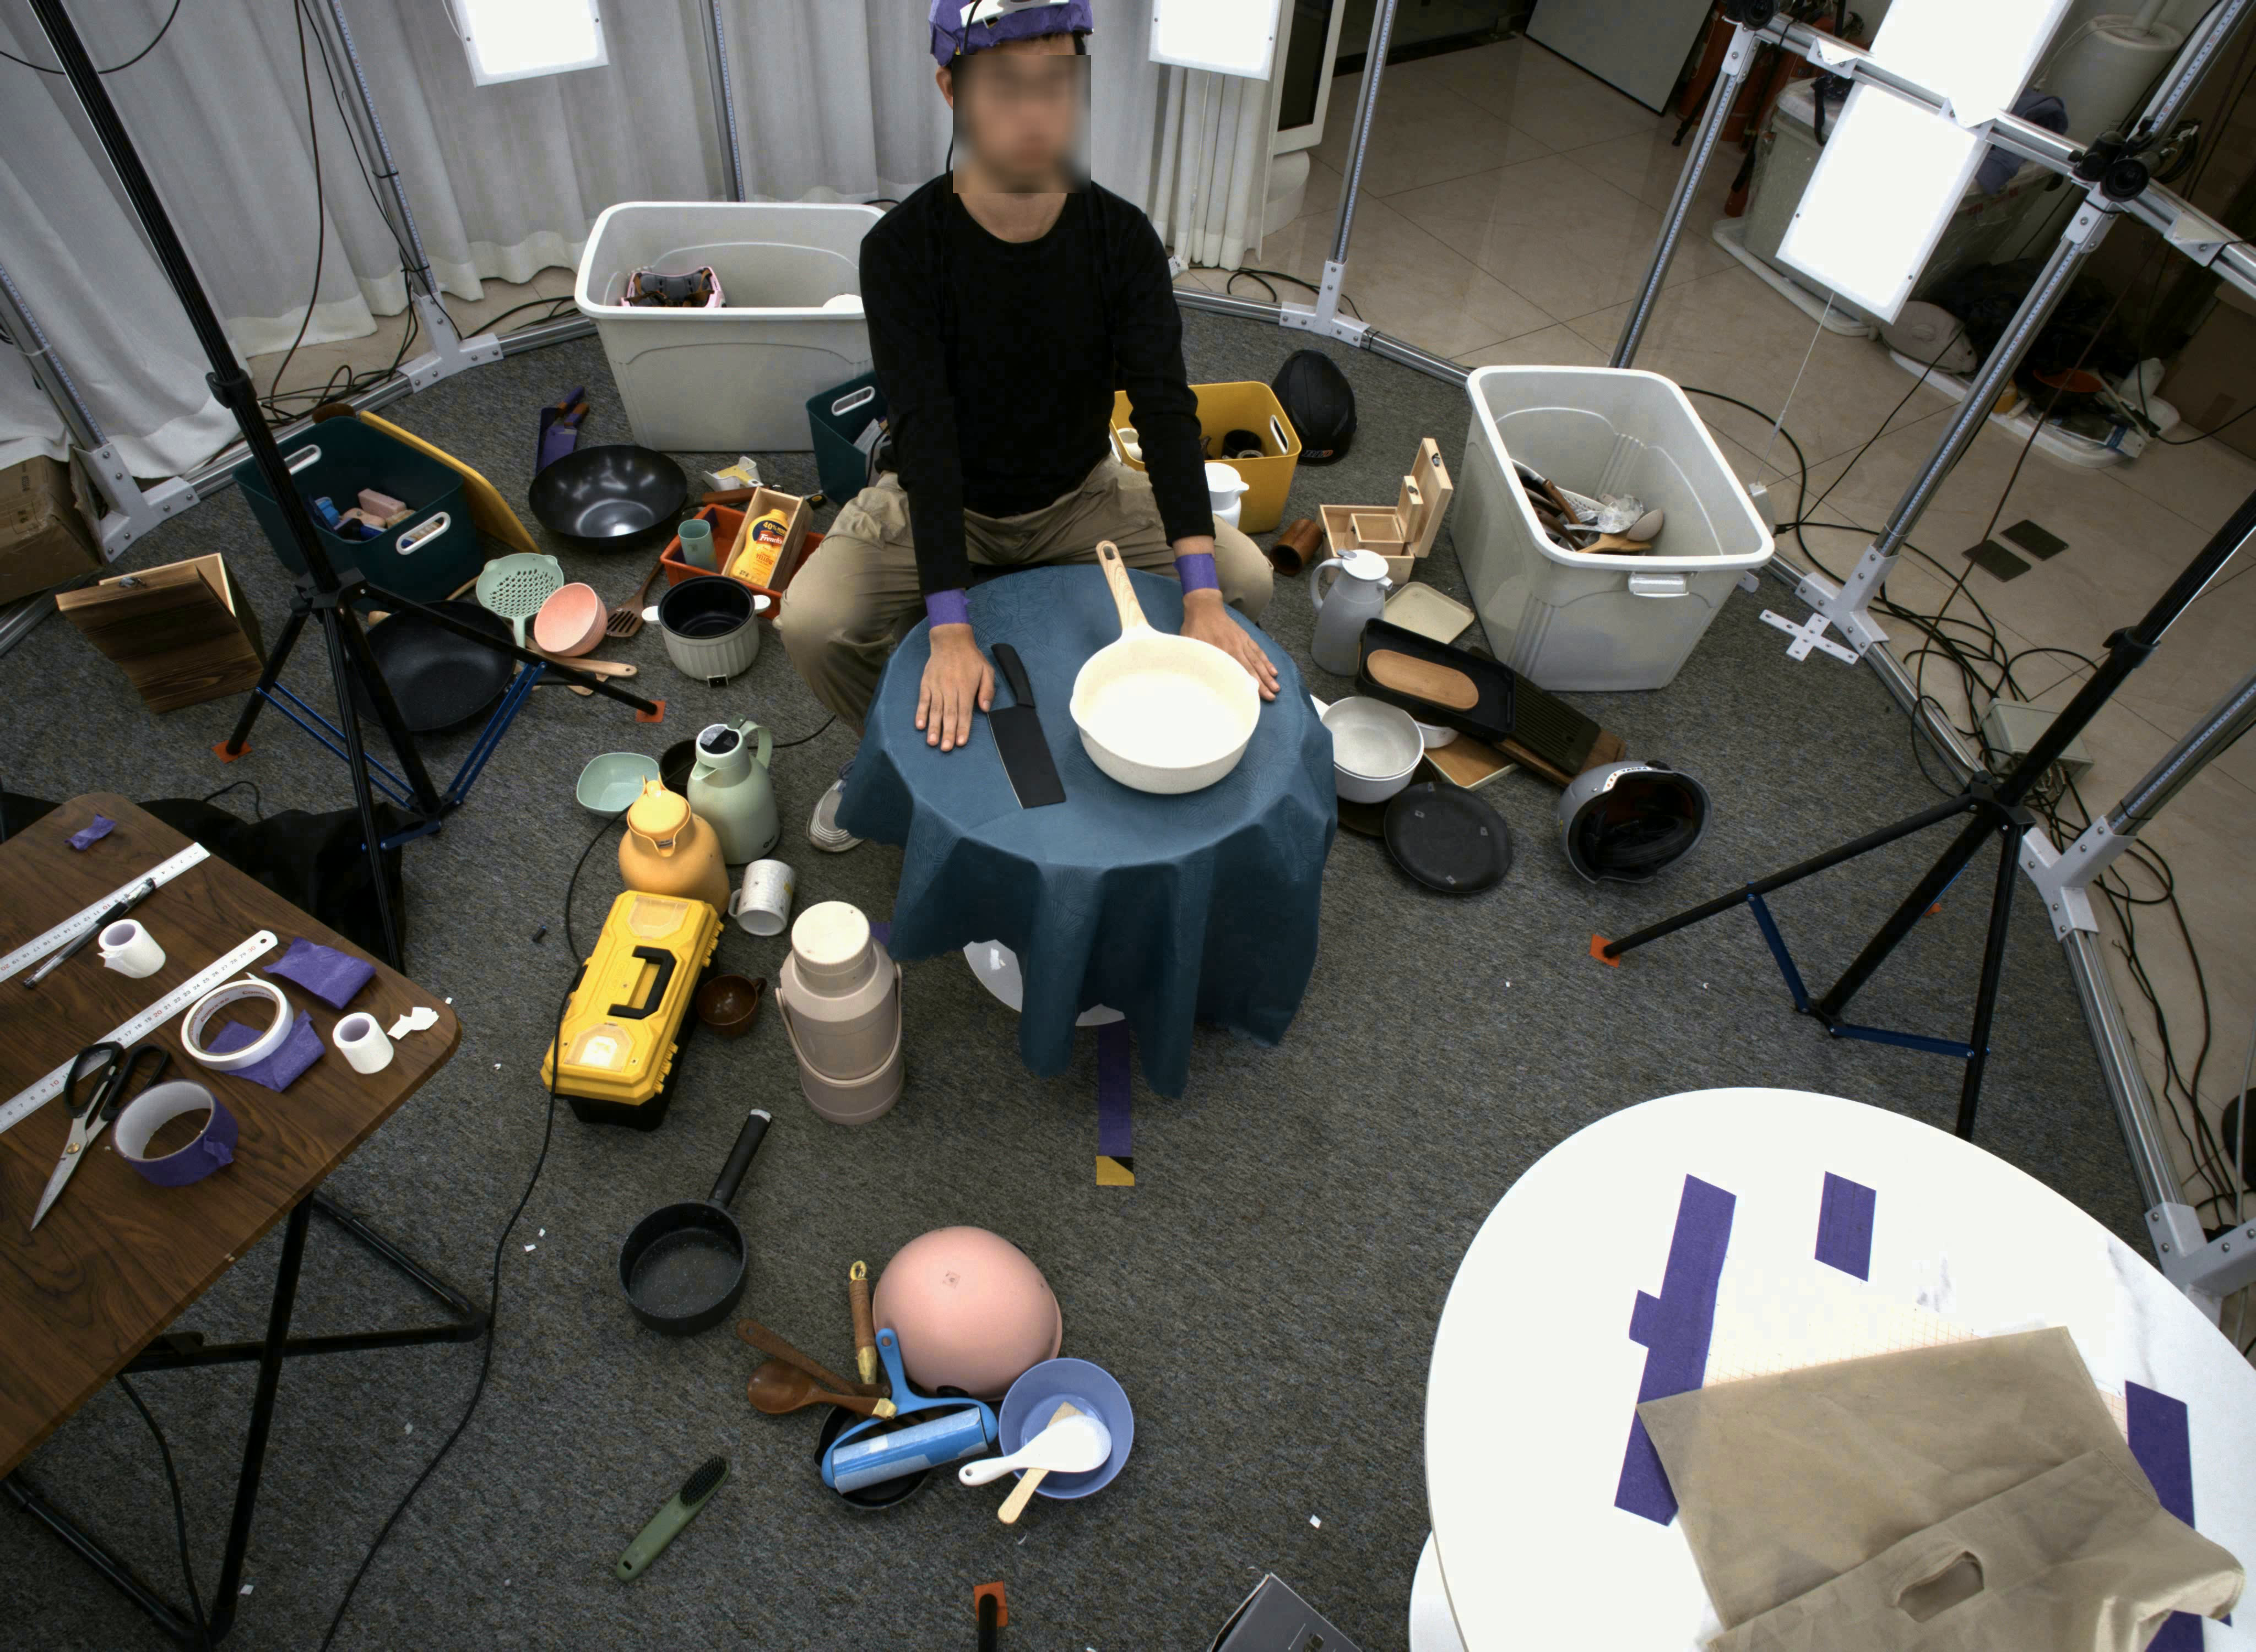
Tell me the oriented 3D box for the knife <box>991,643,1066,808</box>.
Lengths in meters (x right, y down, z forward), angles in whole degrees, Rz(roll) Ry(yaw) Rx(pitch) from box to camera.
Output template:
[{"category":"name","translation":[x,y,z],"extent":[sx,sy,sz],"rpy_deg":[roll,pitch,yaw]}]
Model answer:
[{"category":"knife","translation":[-0.150,-0.144,1.776],"extent":[0.081,0.020,0.310],"rpy_deg":[-8,52,-9]}]

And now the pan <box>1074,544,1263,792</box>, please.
[{"category":"pan","translation":[0.027,-0.223,1.800],"extent":[0.263,0.099,0.445],"rpy_deg":[-12,51,-12]}]
